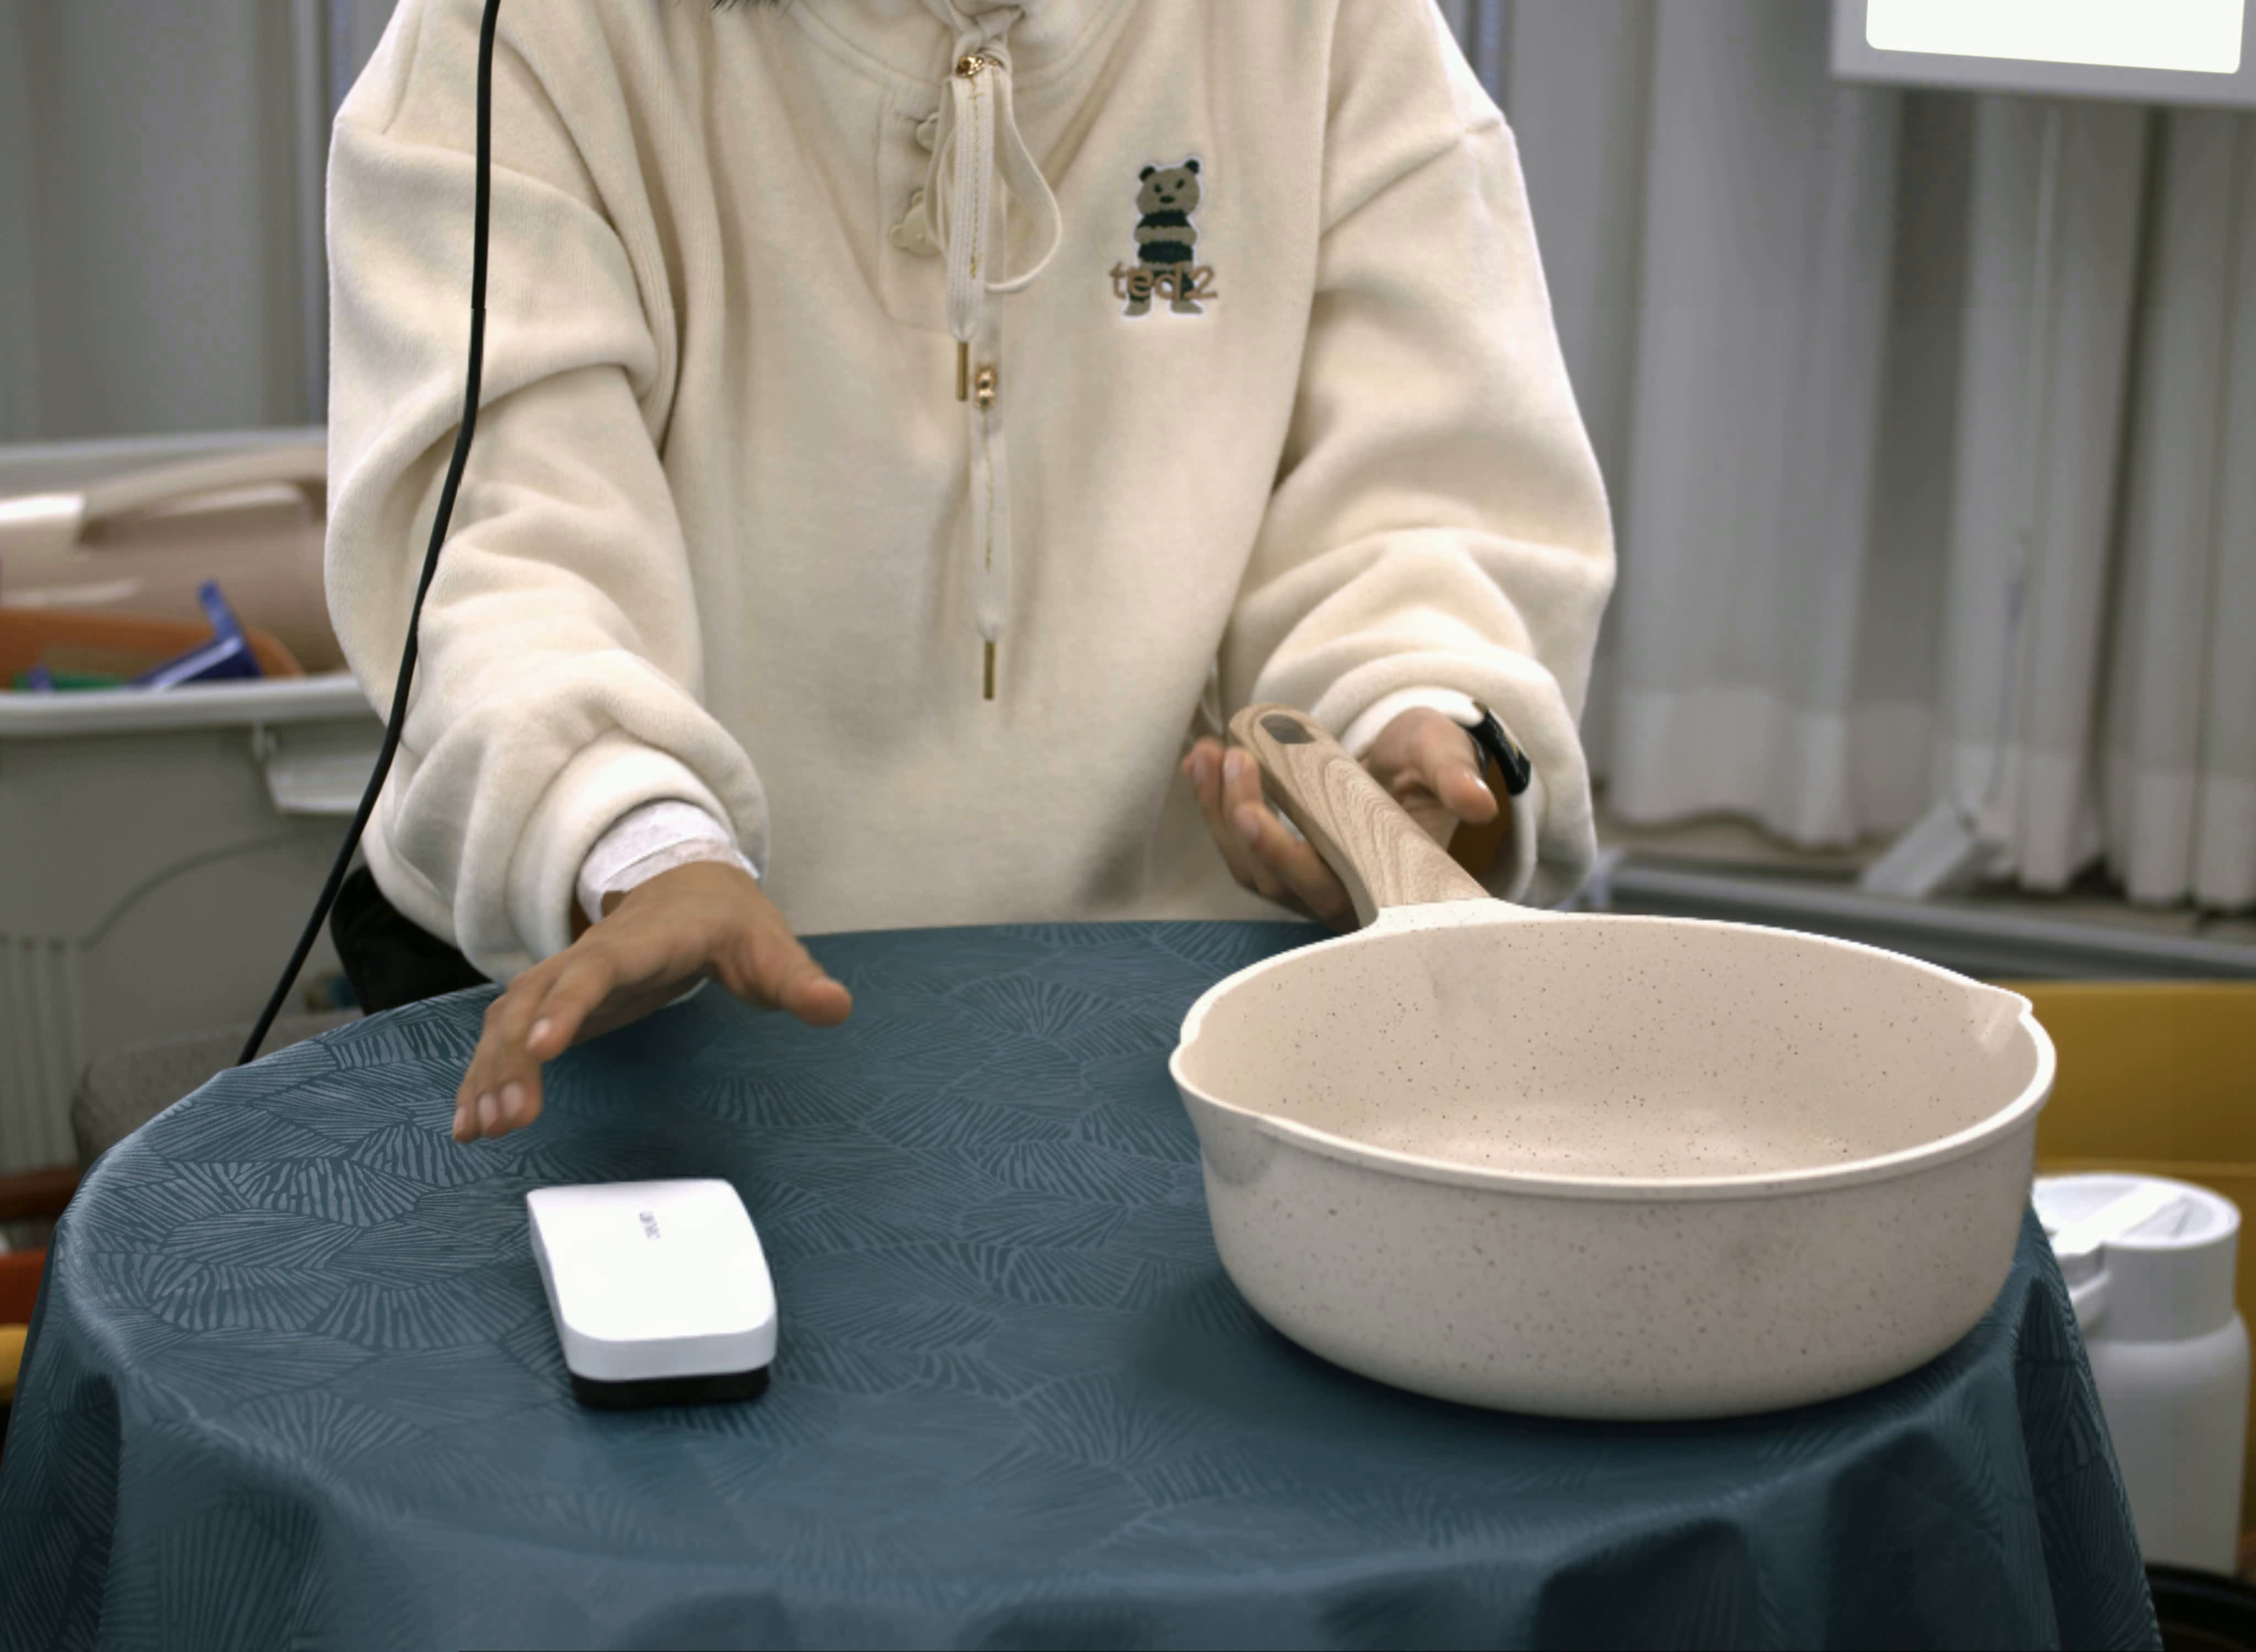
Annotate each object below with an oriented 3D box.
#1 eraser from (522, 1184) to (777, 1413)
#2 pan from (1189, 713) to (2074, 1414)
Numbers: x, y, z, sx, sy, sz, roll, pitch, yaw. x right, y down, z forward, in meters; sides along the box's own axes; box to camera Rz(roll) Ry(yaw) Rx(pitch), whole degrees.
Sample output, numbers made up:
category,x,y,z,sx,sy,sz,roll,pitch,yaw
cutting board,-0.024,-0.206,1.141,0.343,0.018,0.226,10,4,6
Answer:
category,x,y,z,sx,sy,sz,roll,pitch,yaw
eraser,-0.136,0.130,1.498,0.063,0.035,0.130,0,16,-12
pan,0.115,0.066,1.600,0.264,0.103,0.430,-6,17,-18
